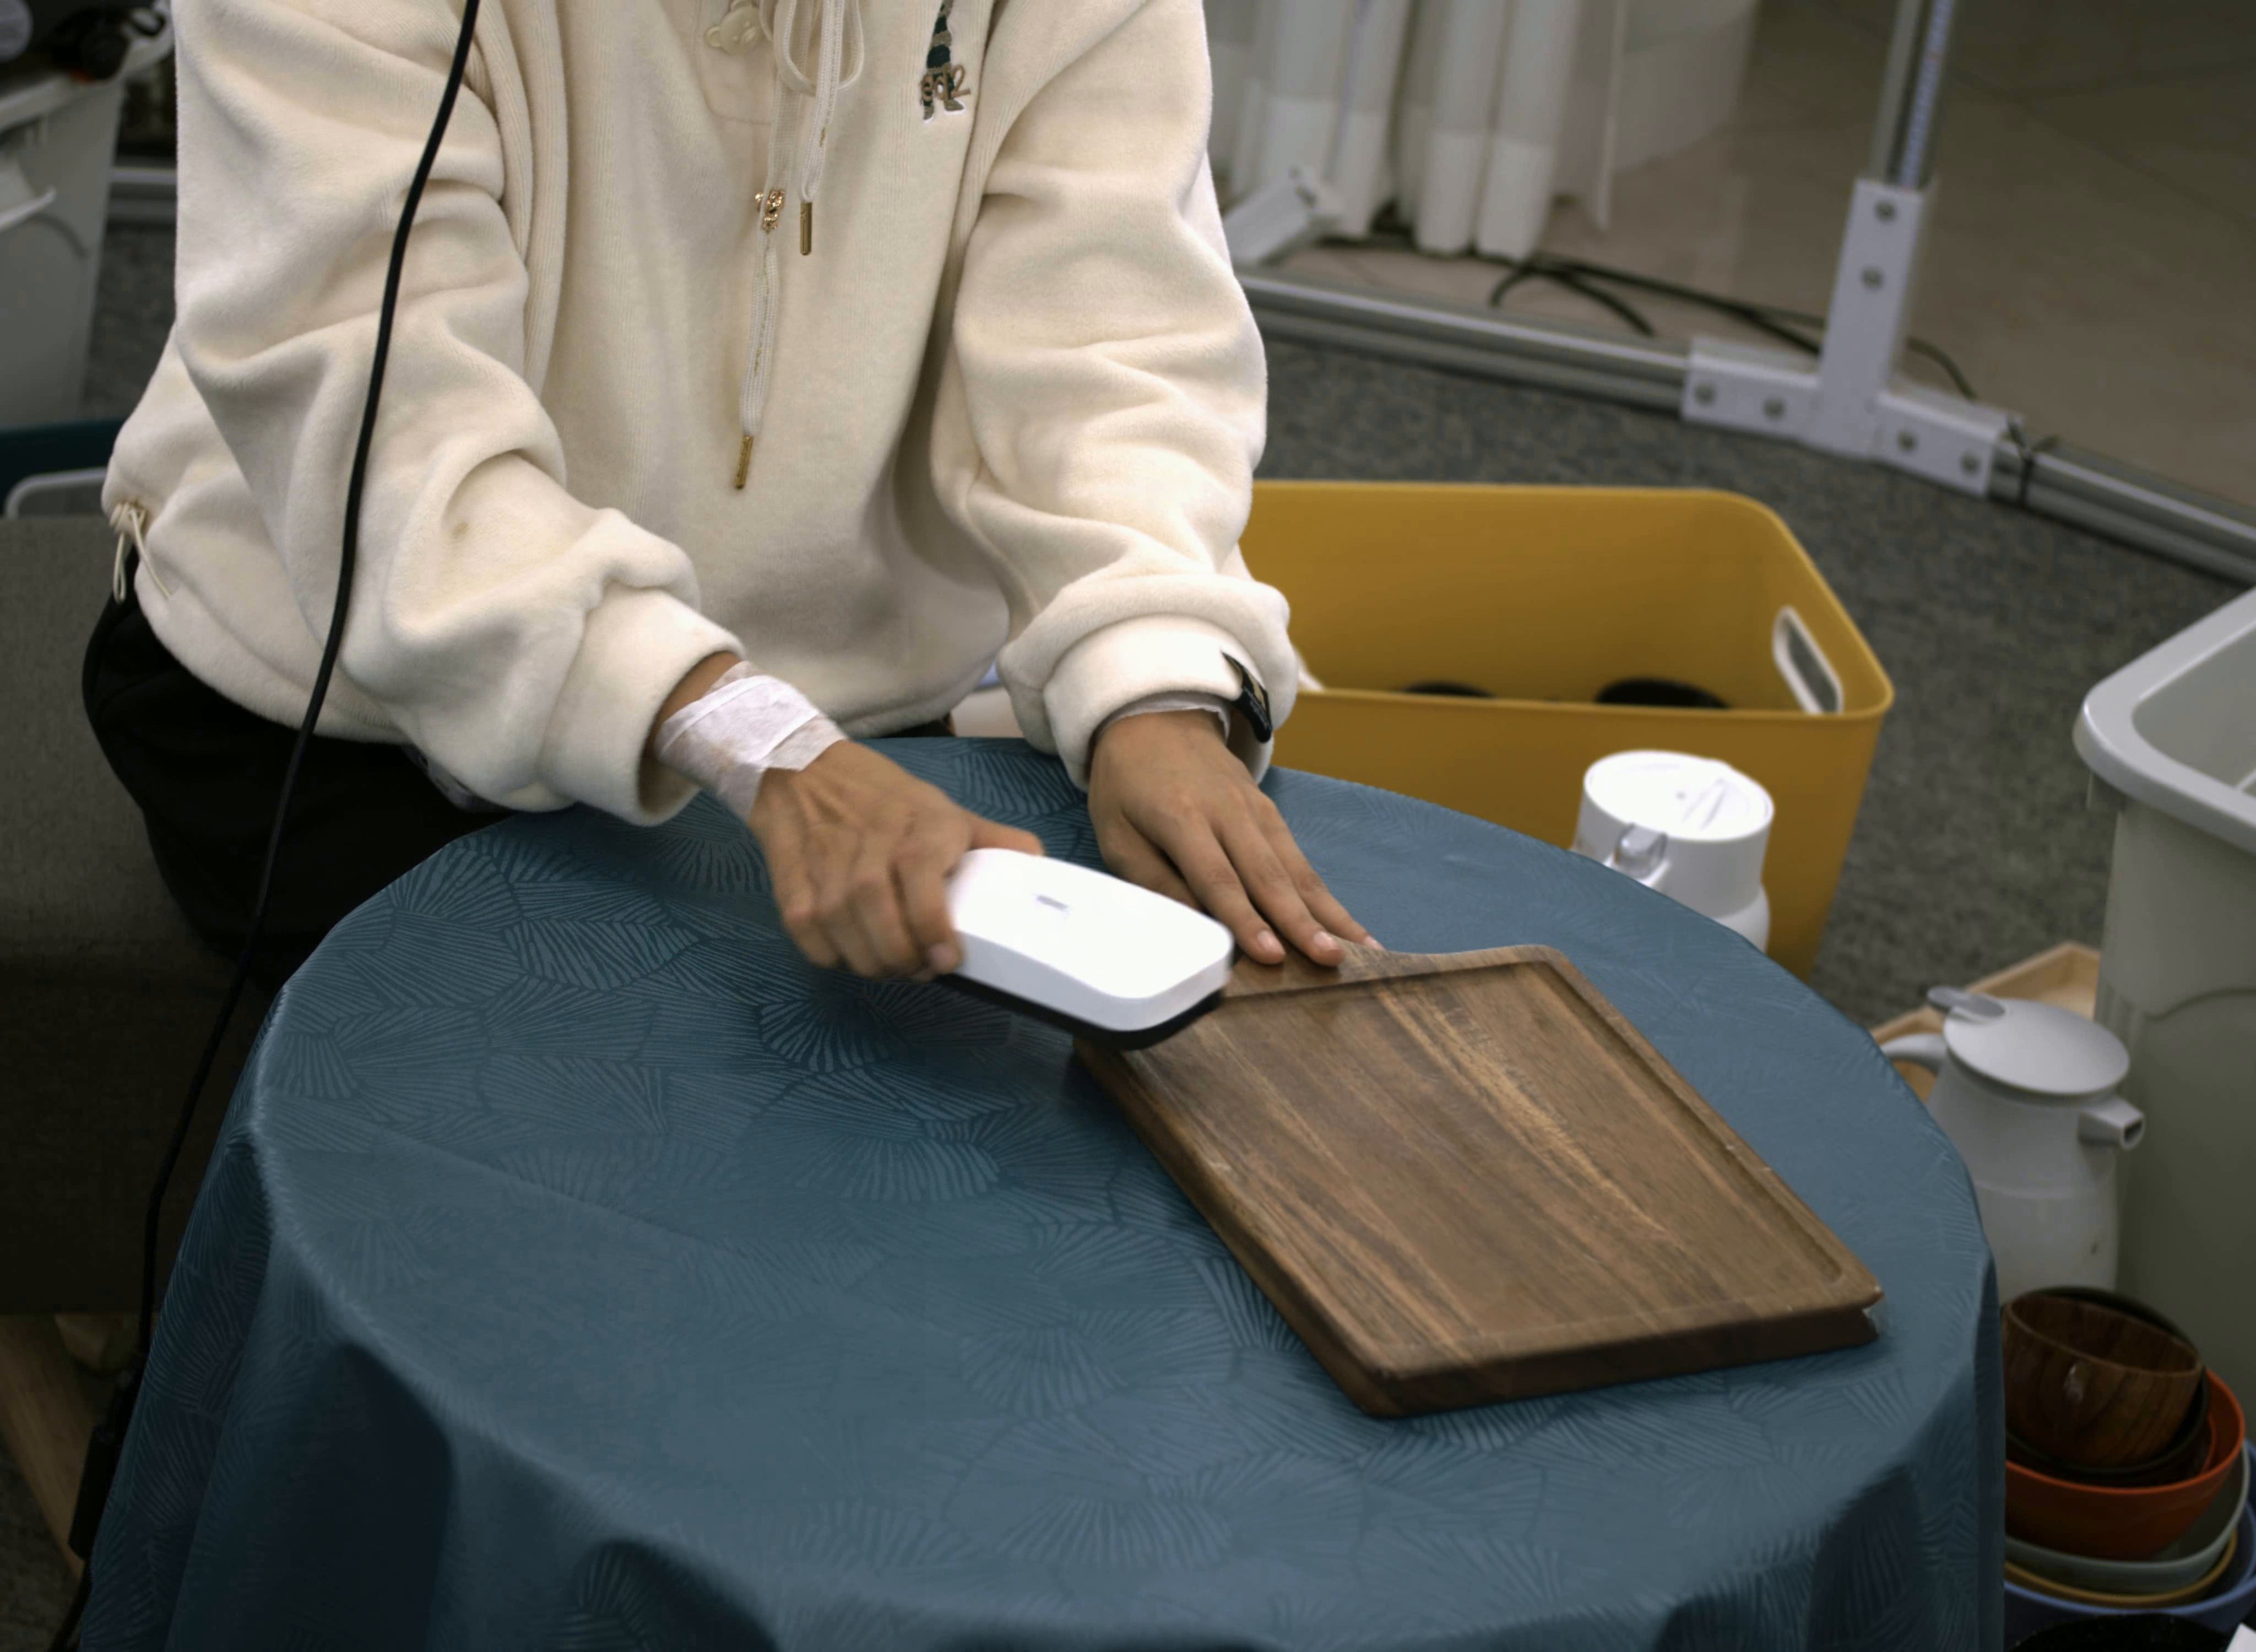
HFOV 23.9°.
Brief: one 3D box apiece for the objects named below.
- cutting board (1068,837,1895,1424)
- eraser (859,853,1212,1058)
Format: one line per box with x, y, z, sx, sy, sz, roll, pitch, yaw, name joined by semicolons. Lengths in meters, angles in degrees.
0.097;0.093;1.859;0.200;0.023;0.355;-6;30;-24;cutting board
-0.032;0.041;1.854;0.132;0.034;0.063;20;34;40;eraser
